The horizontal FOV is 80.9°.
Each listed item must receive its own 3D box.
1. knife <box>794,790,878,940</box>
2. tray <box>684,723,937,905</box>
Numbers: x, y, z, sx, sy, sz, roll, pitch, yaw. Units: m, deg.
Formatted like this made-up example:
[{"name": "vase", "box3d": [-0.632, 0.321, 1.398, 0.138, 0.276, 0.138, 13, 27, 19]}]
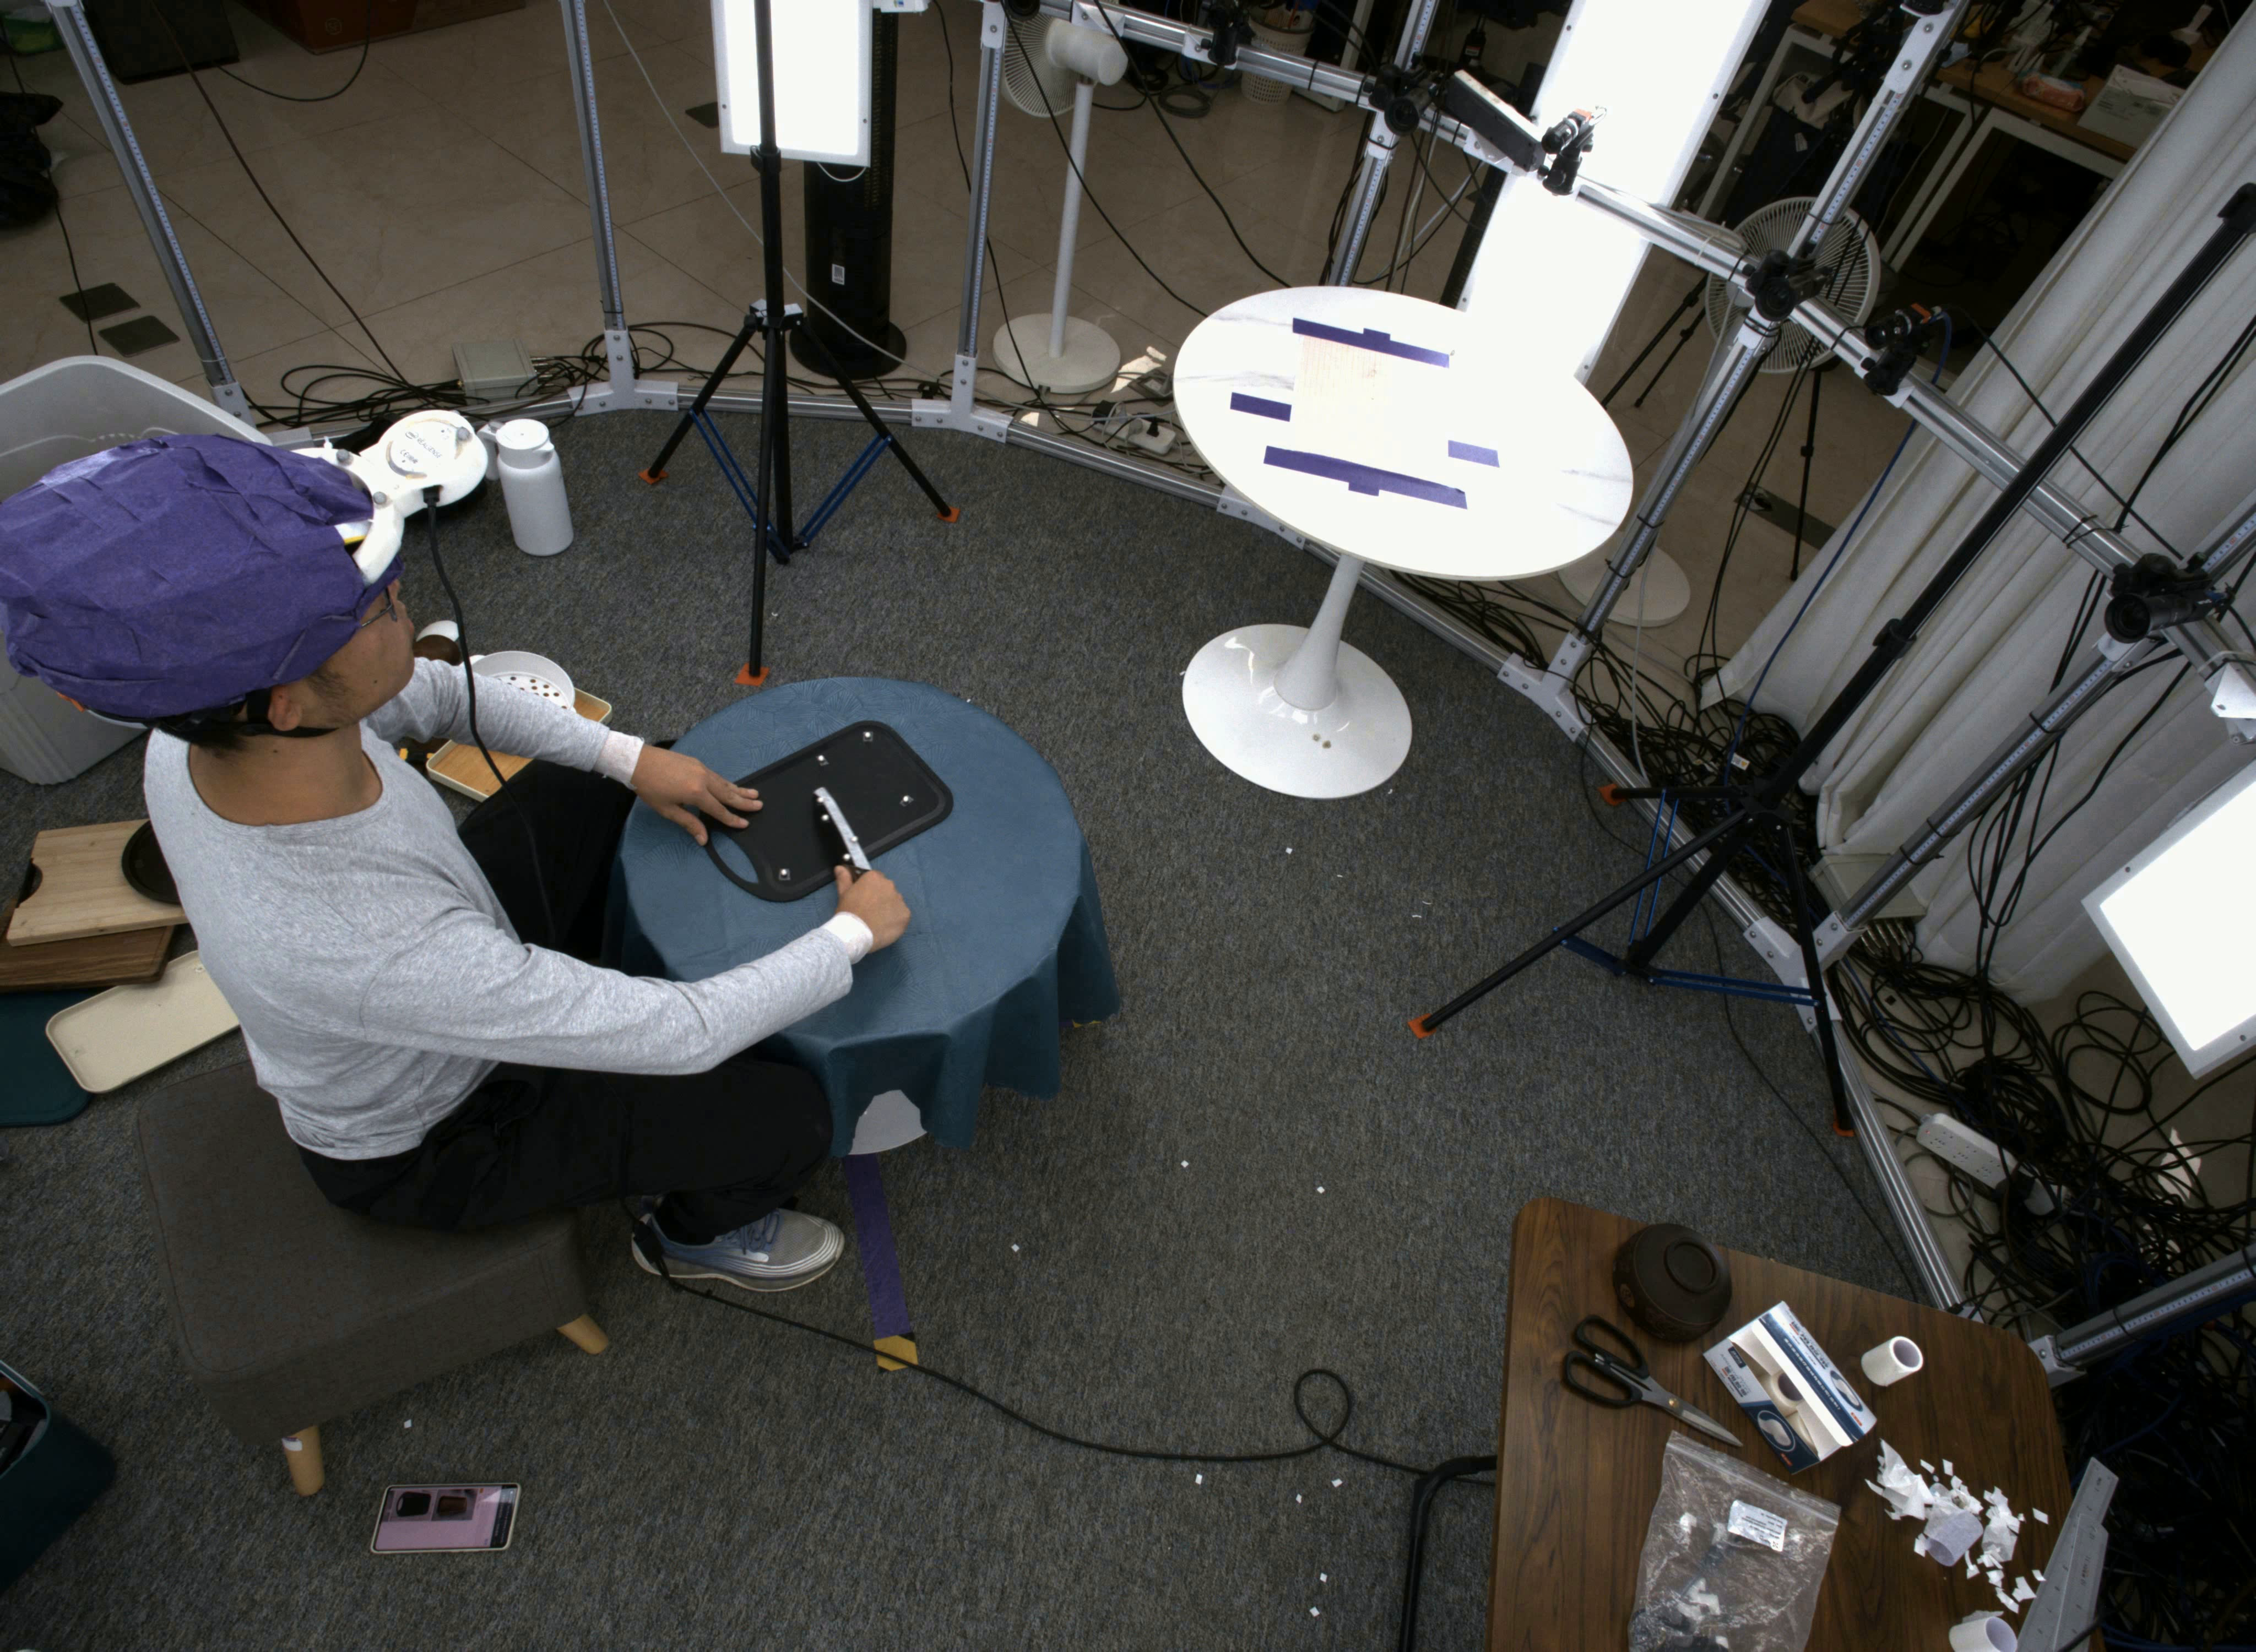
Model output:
[{"name": "knife", "box3d": [-0.380, 0.042, 1.677, 0.051, 0.020, 0.280, 13, 33, -45]}, {"name": "tray", "box3d": [-0.430, -0.021, 1.745, 0.326, 0.010, 0.206, -32, 67, -31]}]
